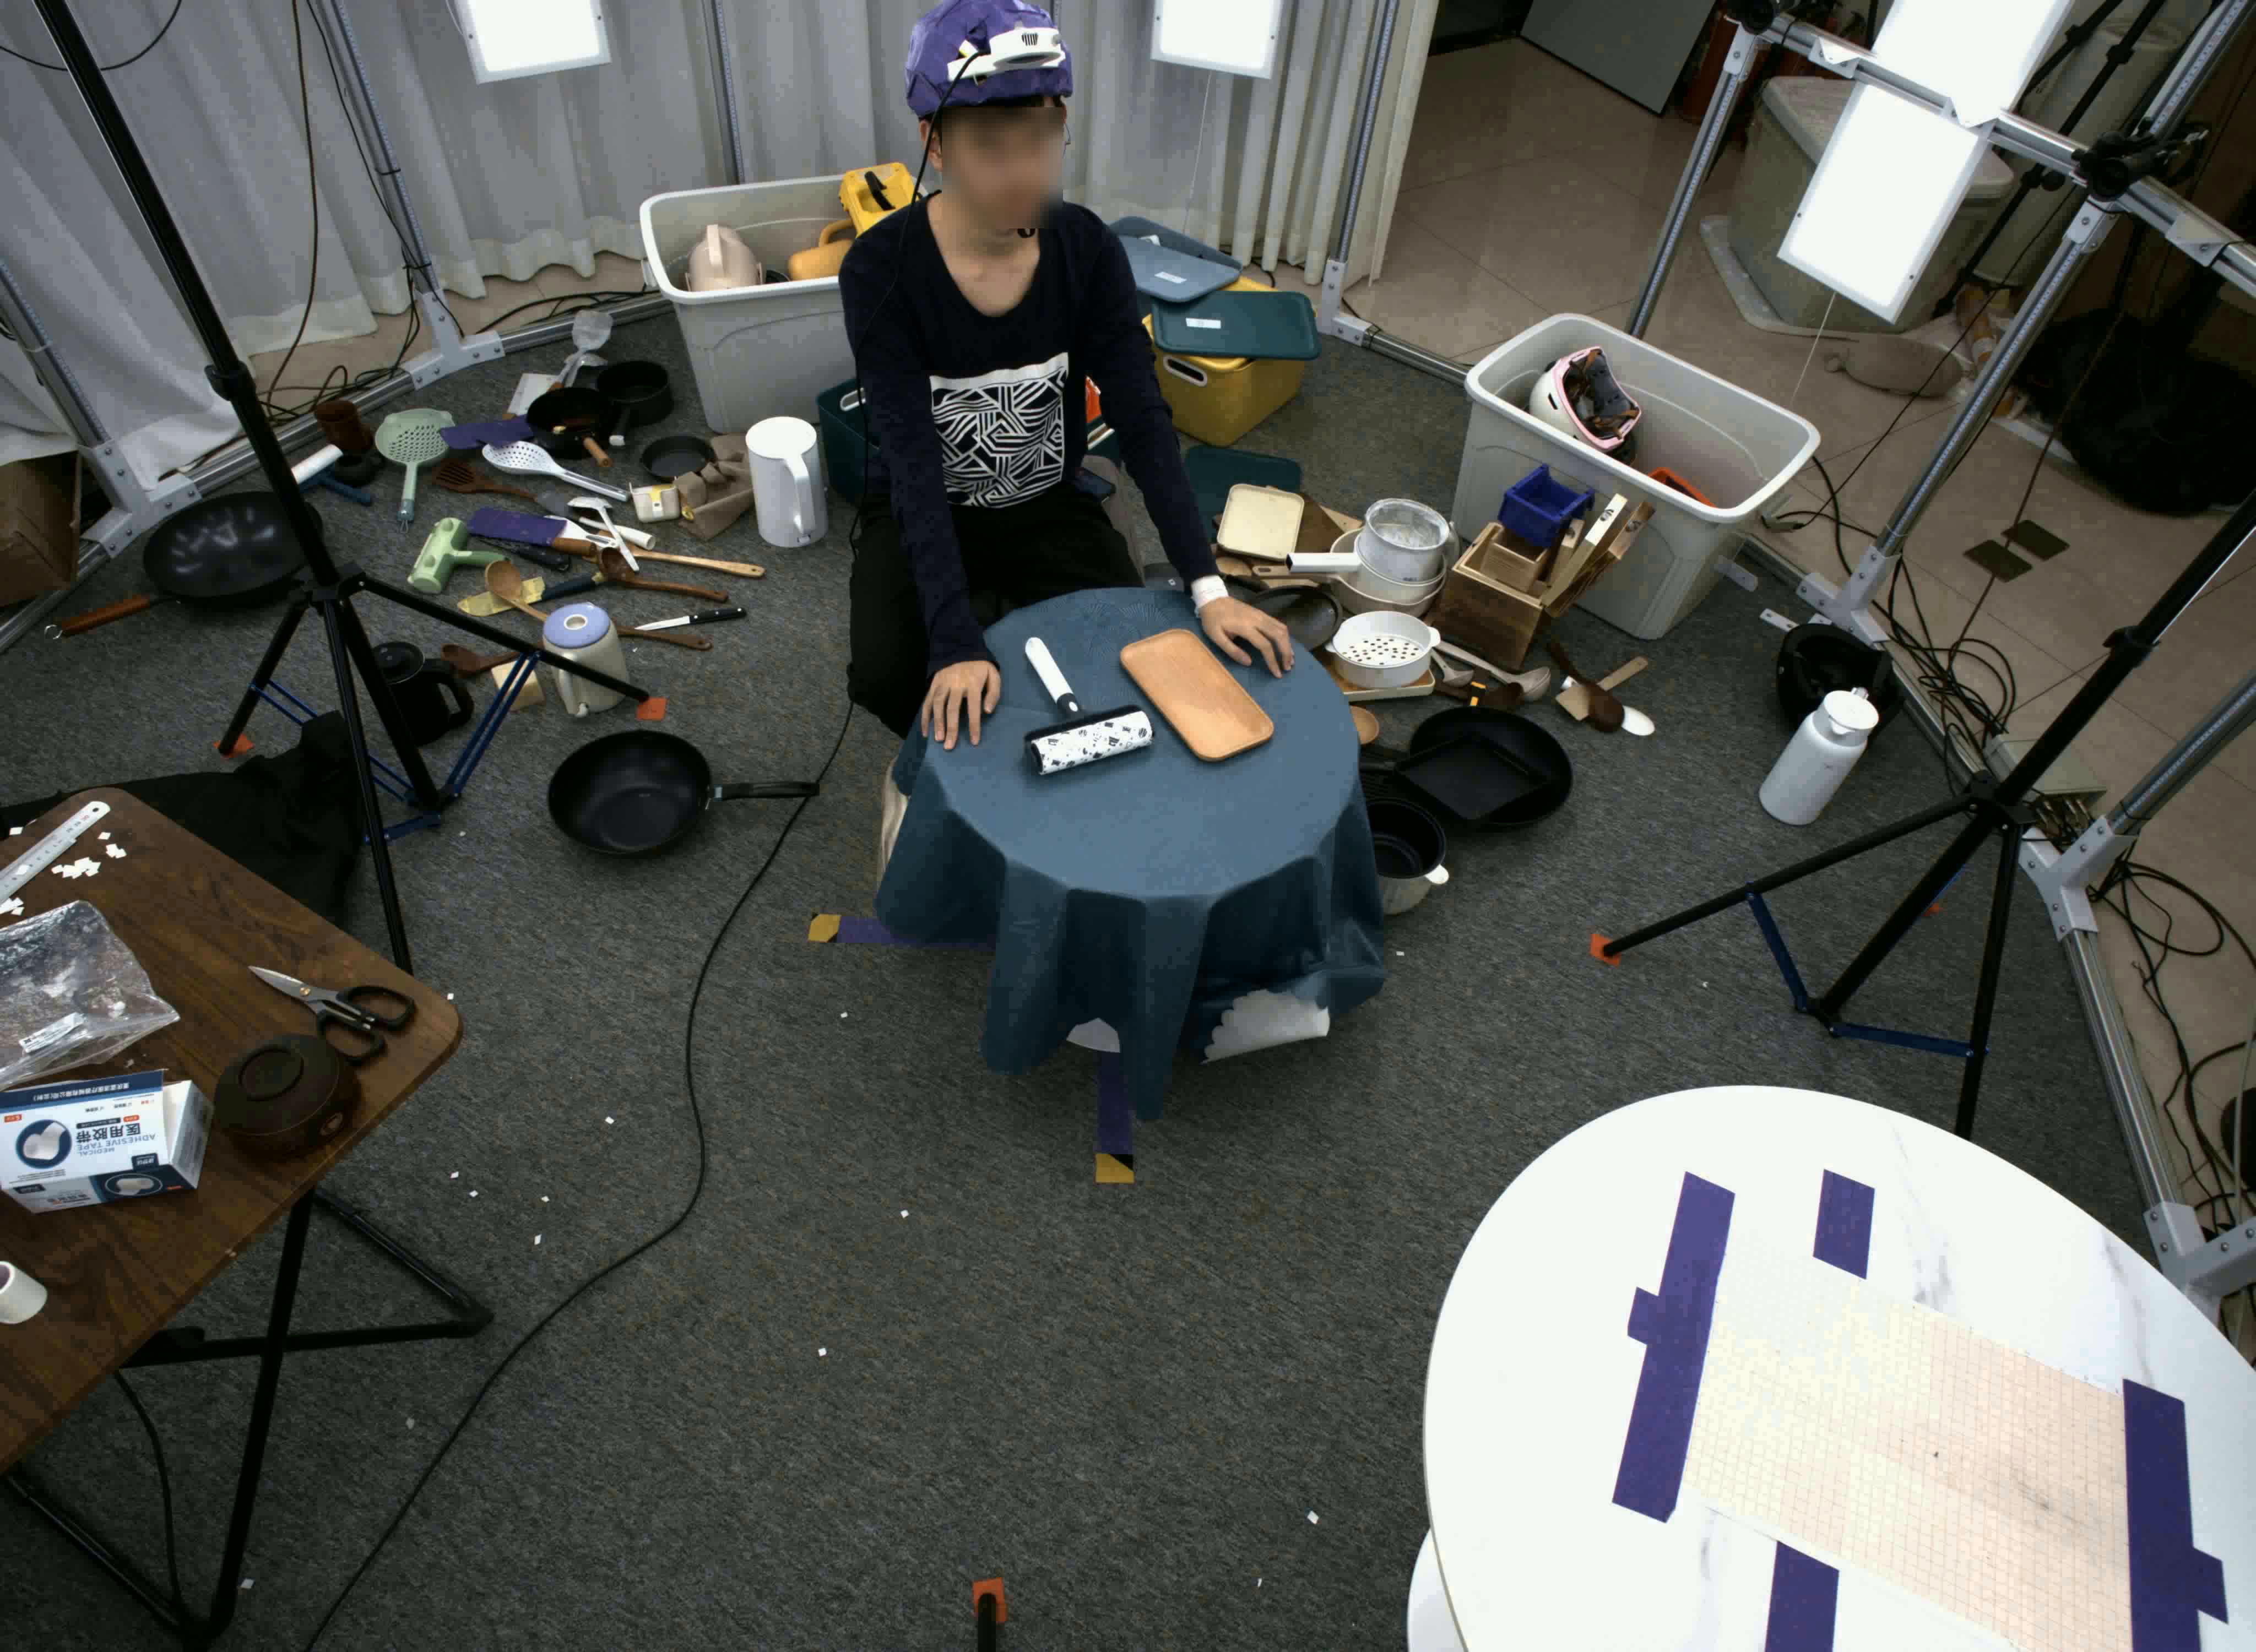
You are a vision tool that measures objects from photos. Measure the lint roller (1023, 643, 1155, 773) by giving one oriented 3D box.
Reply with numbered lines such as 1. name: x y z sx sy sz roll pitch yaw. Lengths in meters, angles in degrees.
1. lint roller: -0.092 -0.183 1.794 0.176 0.049 0.253 -18 50 -17

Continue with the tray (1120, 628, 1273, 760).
1. tray: 0.095 -0.191 1.829 0.131 0.022 0.256 -19 52 -22
